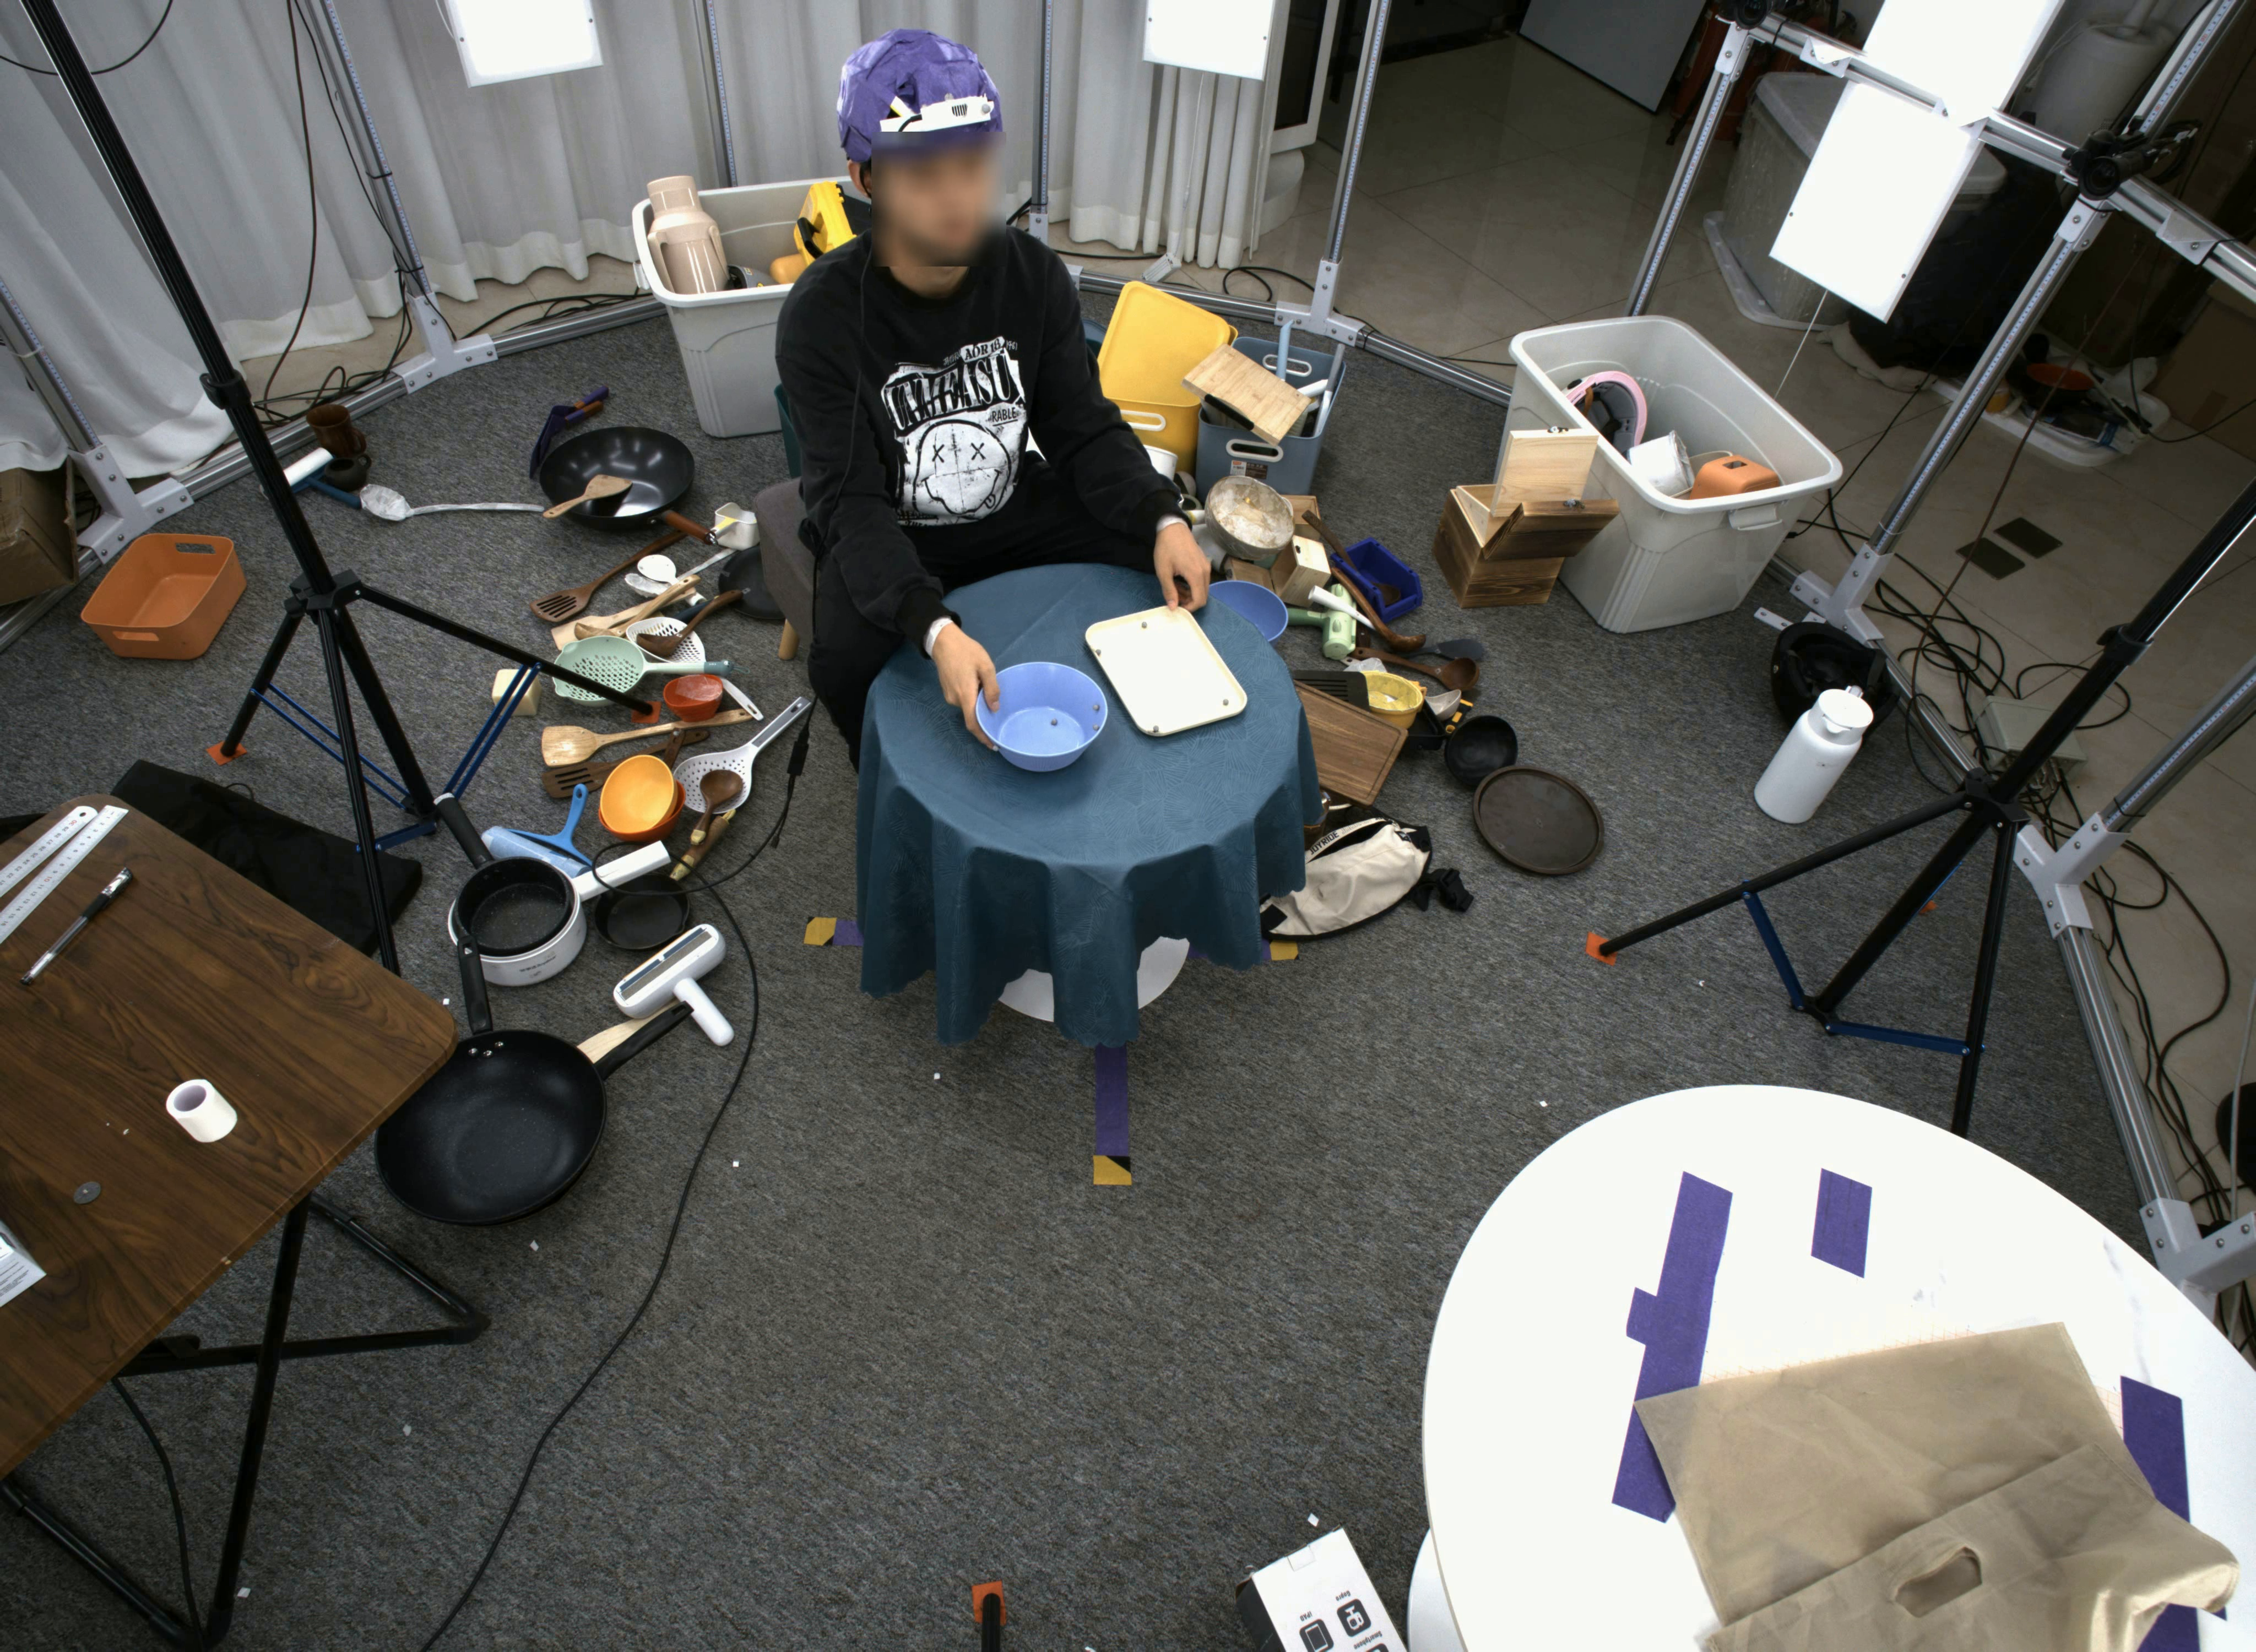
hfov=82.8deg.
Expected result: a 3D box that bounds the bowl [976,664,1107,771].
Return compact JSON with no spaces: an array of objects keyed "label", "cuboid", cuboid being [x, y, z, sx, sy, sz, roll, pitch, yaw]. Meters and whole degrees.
[{"label":"bowl","cuboid":[-0.118,-0.139,1.751,0.176,0.068,0.180,2,49,-3]}]

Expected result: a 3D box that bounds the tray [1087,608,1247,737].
[{"label":"tray","cuboid":[0.054,-0.225,1.873,0.171,0.017,0.245,-16,52,-18]}]
